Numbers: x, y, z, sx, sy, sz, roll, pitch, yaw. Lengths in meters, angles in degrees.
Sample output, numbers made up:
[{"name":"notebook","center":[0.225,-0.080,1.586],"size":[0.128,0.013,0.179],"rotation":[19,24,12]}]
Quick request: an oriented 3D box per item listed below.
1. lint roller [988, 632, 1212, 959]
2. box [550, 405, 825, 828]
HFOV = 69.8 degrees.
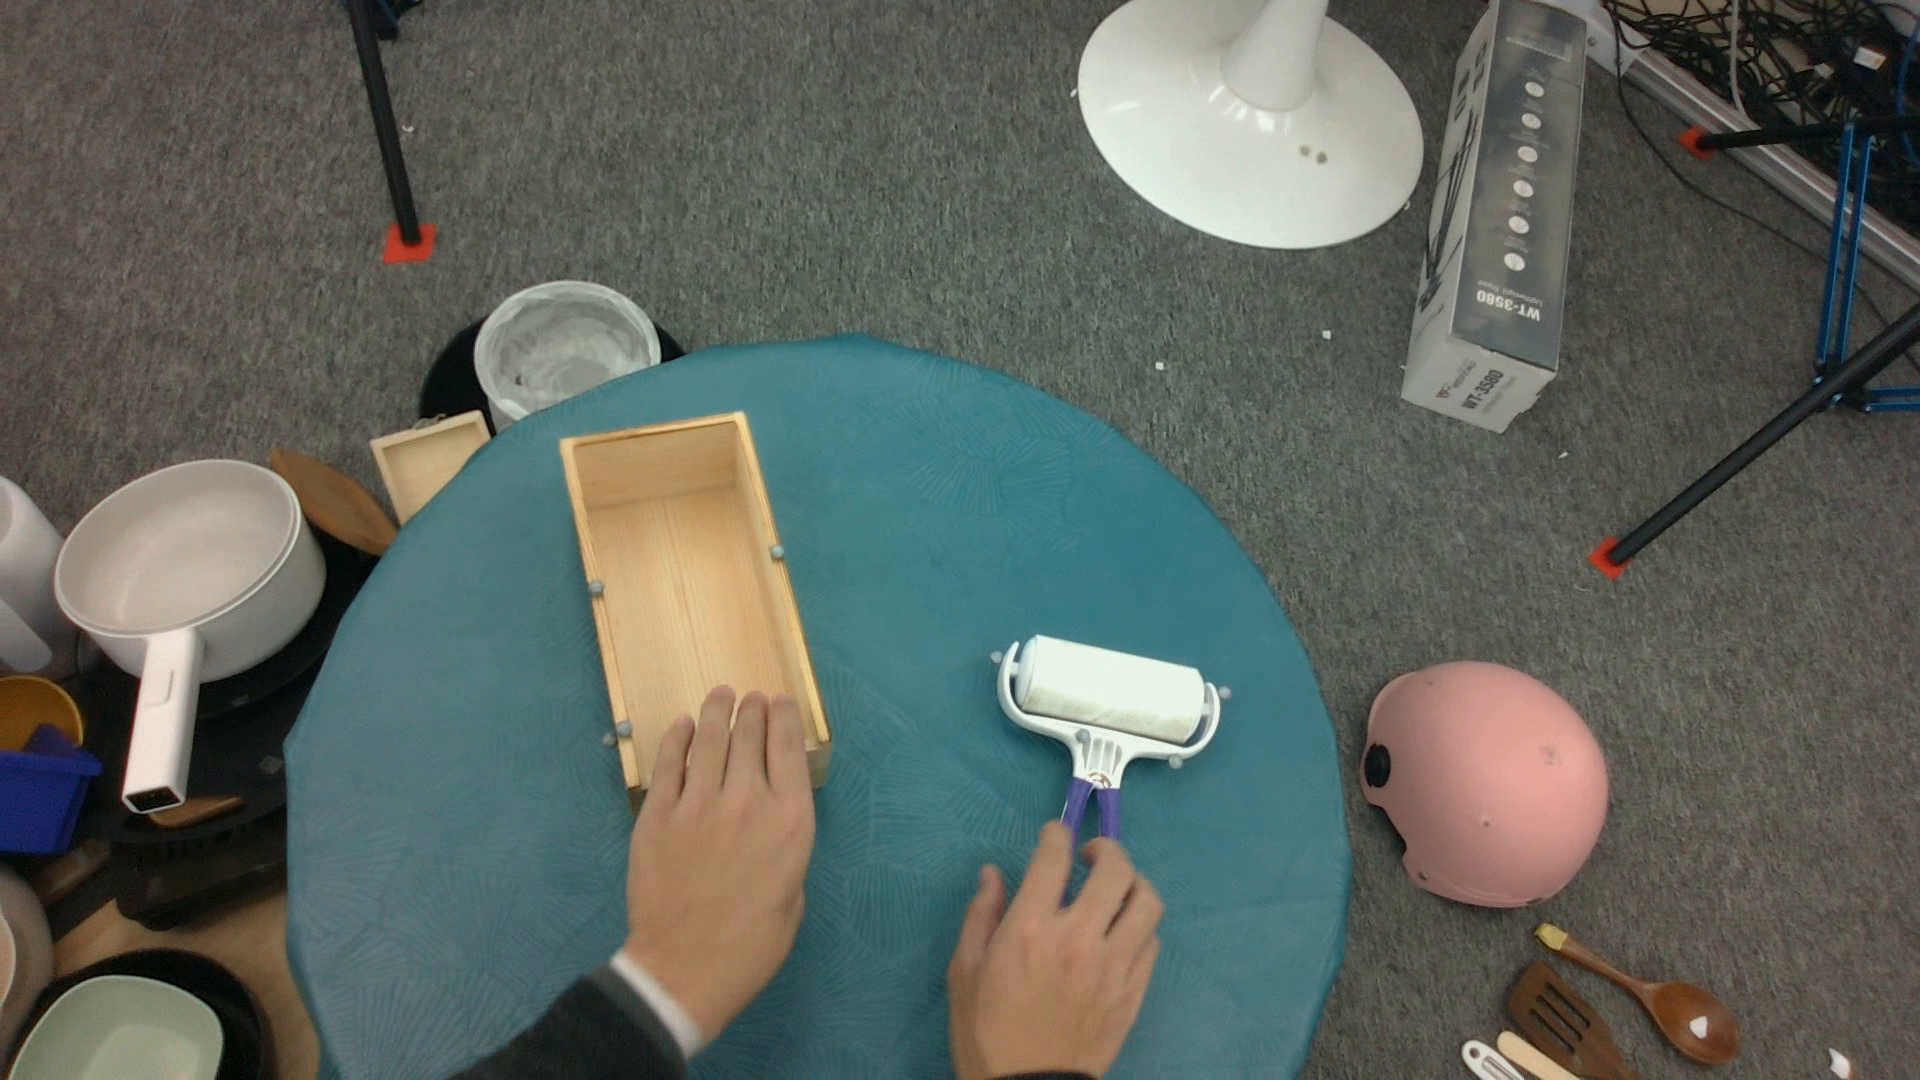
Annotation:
[{"name":"lint roller","center":[0.072,0.142,0.782],"size":[0.133,0.050,0.181],"rotation":[14,58,-4]},{"name":"box","center":[-0.156,0.040,0.776],"size":[0.108,0.080,0.212],"rotation":[-11,65,-17]}]
